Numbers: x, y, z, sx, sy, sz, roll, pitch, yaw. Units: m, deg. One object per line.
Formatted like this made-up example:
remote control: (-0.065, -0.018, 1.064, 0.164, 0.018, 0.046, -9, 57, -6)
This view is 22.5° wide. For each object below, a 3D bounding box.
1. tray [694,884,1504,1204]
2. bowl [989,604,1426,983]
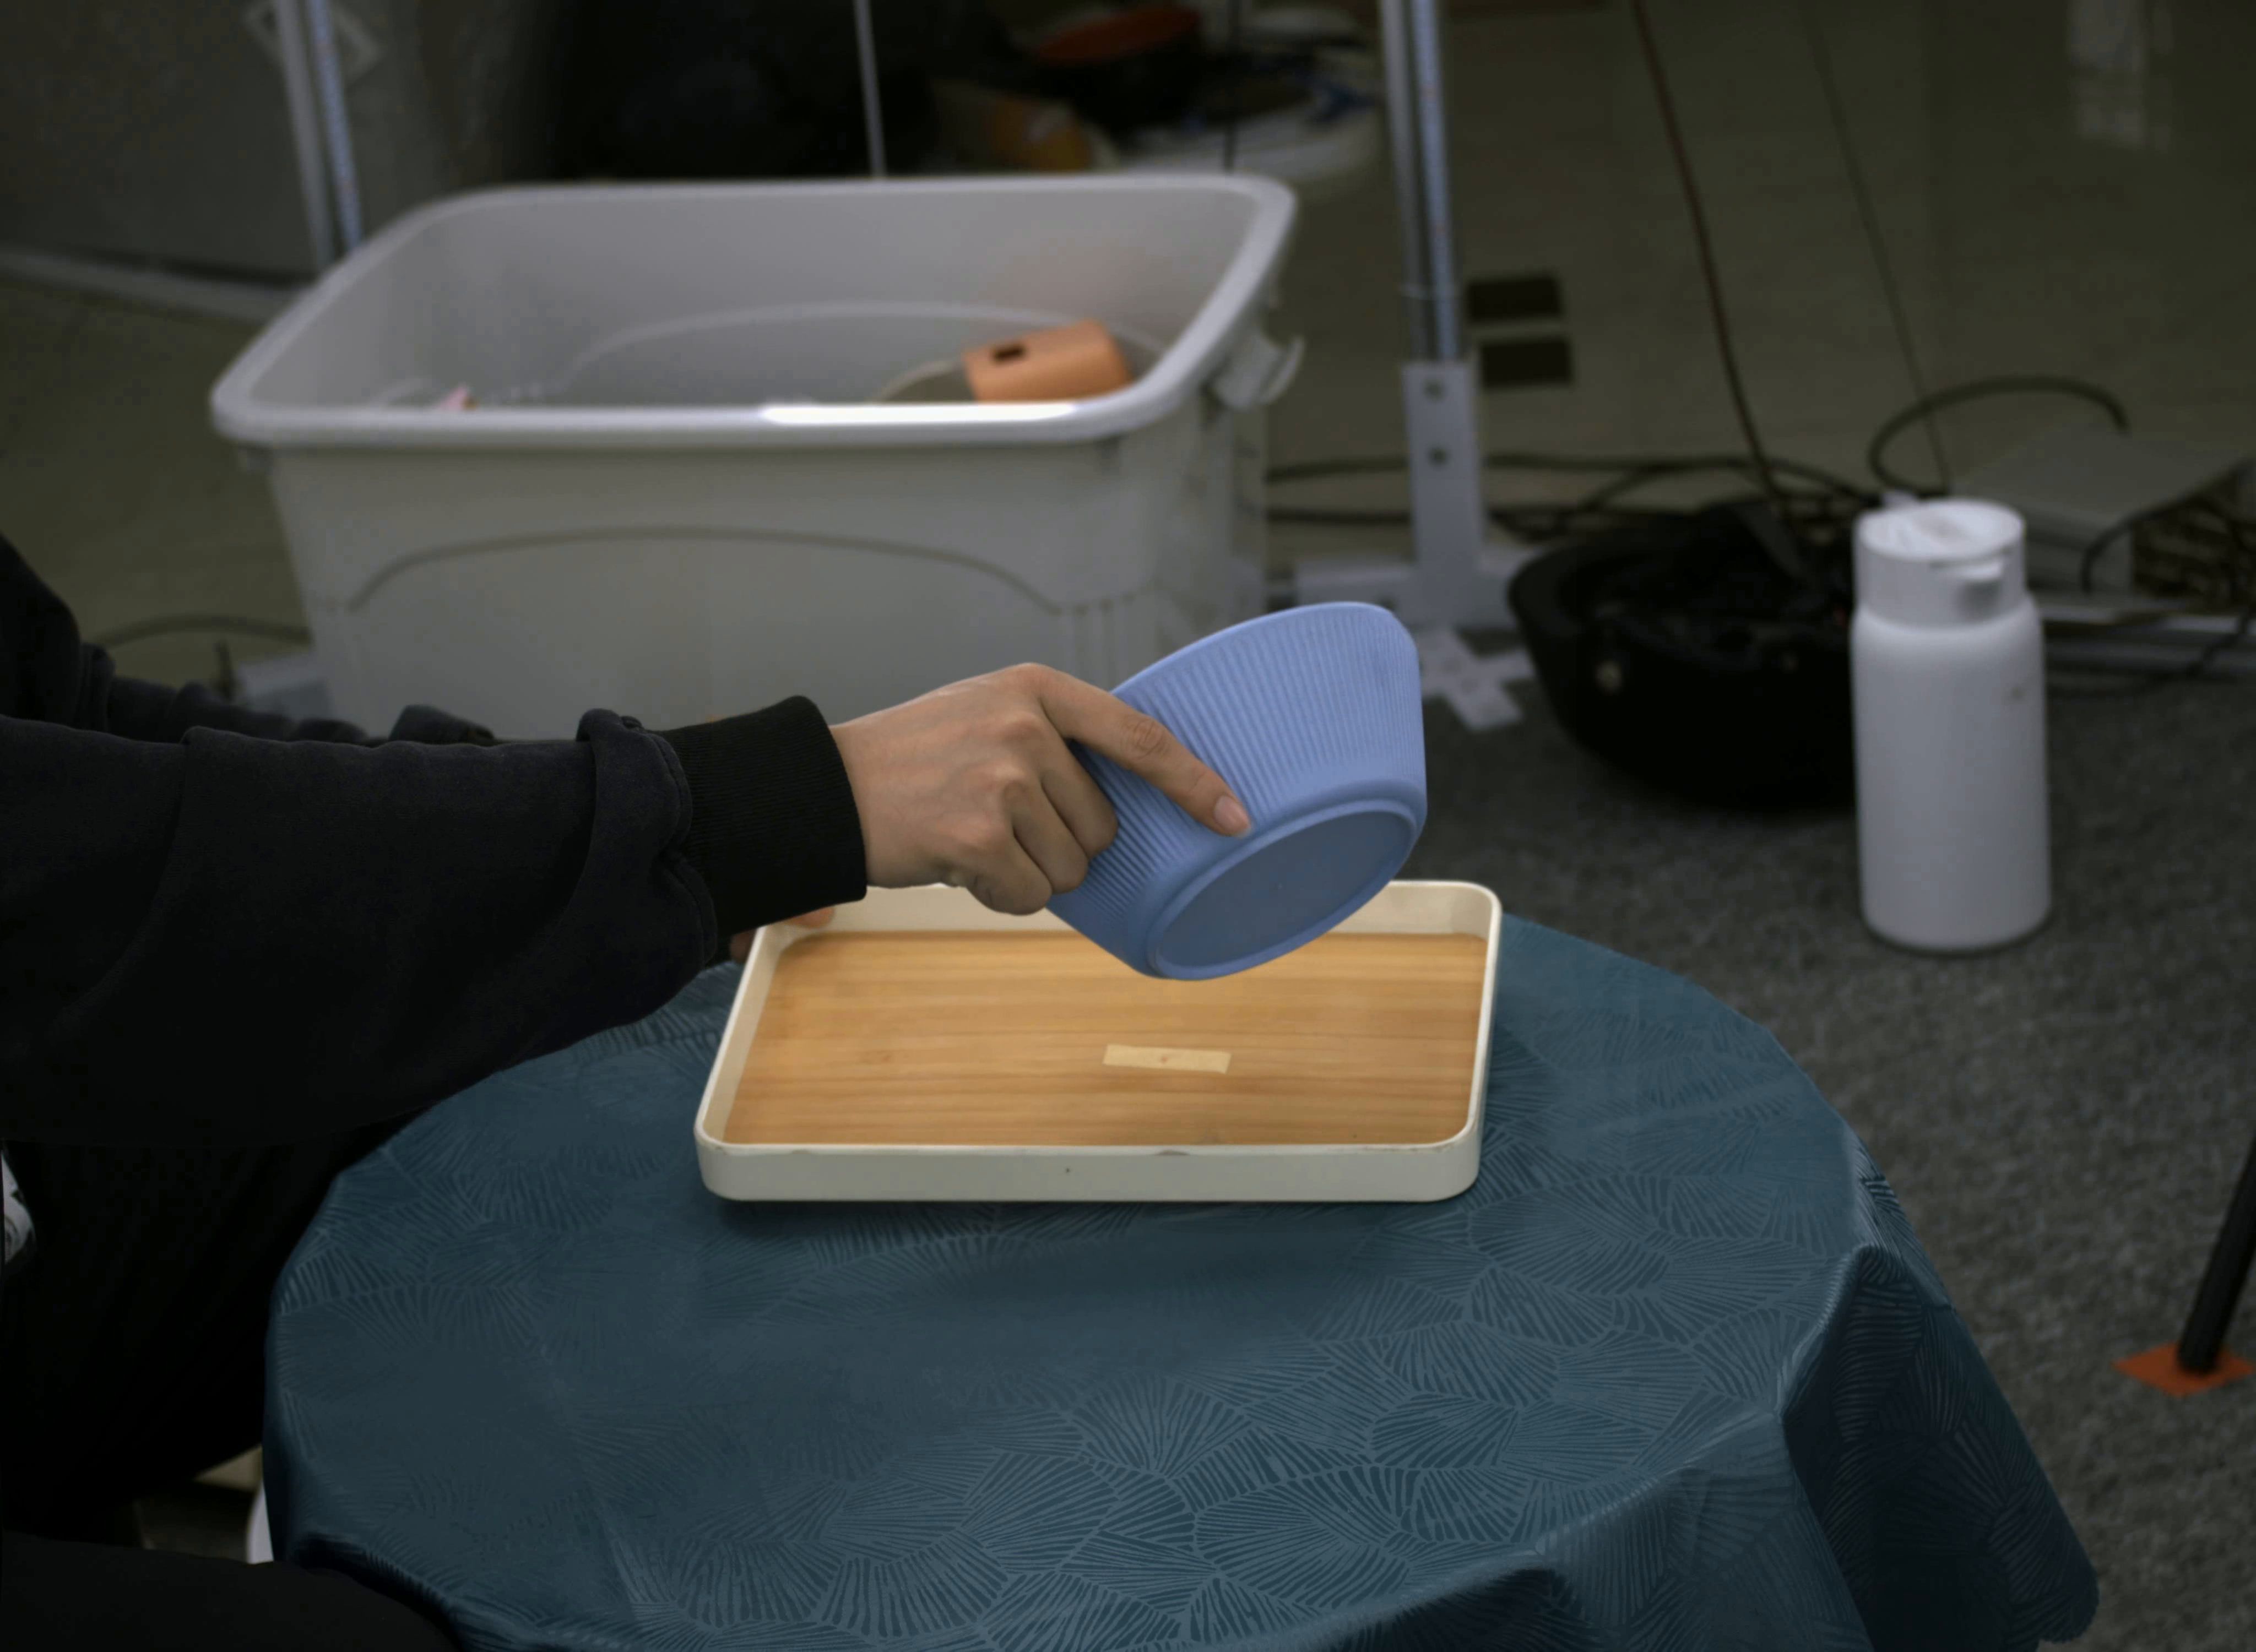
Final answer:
tray: (-0.008, 0.084, 2.209, 0.300, 0.028, 0.188, 0, 32, 8)
bowl: (0.041, -0.002, 2.056, 0.175, 0.179, 0.069, -18, 65, -24)
